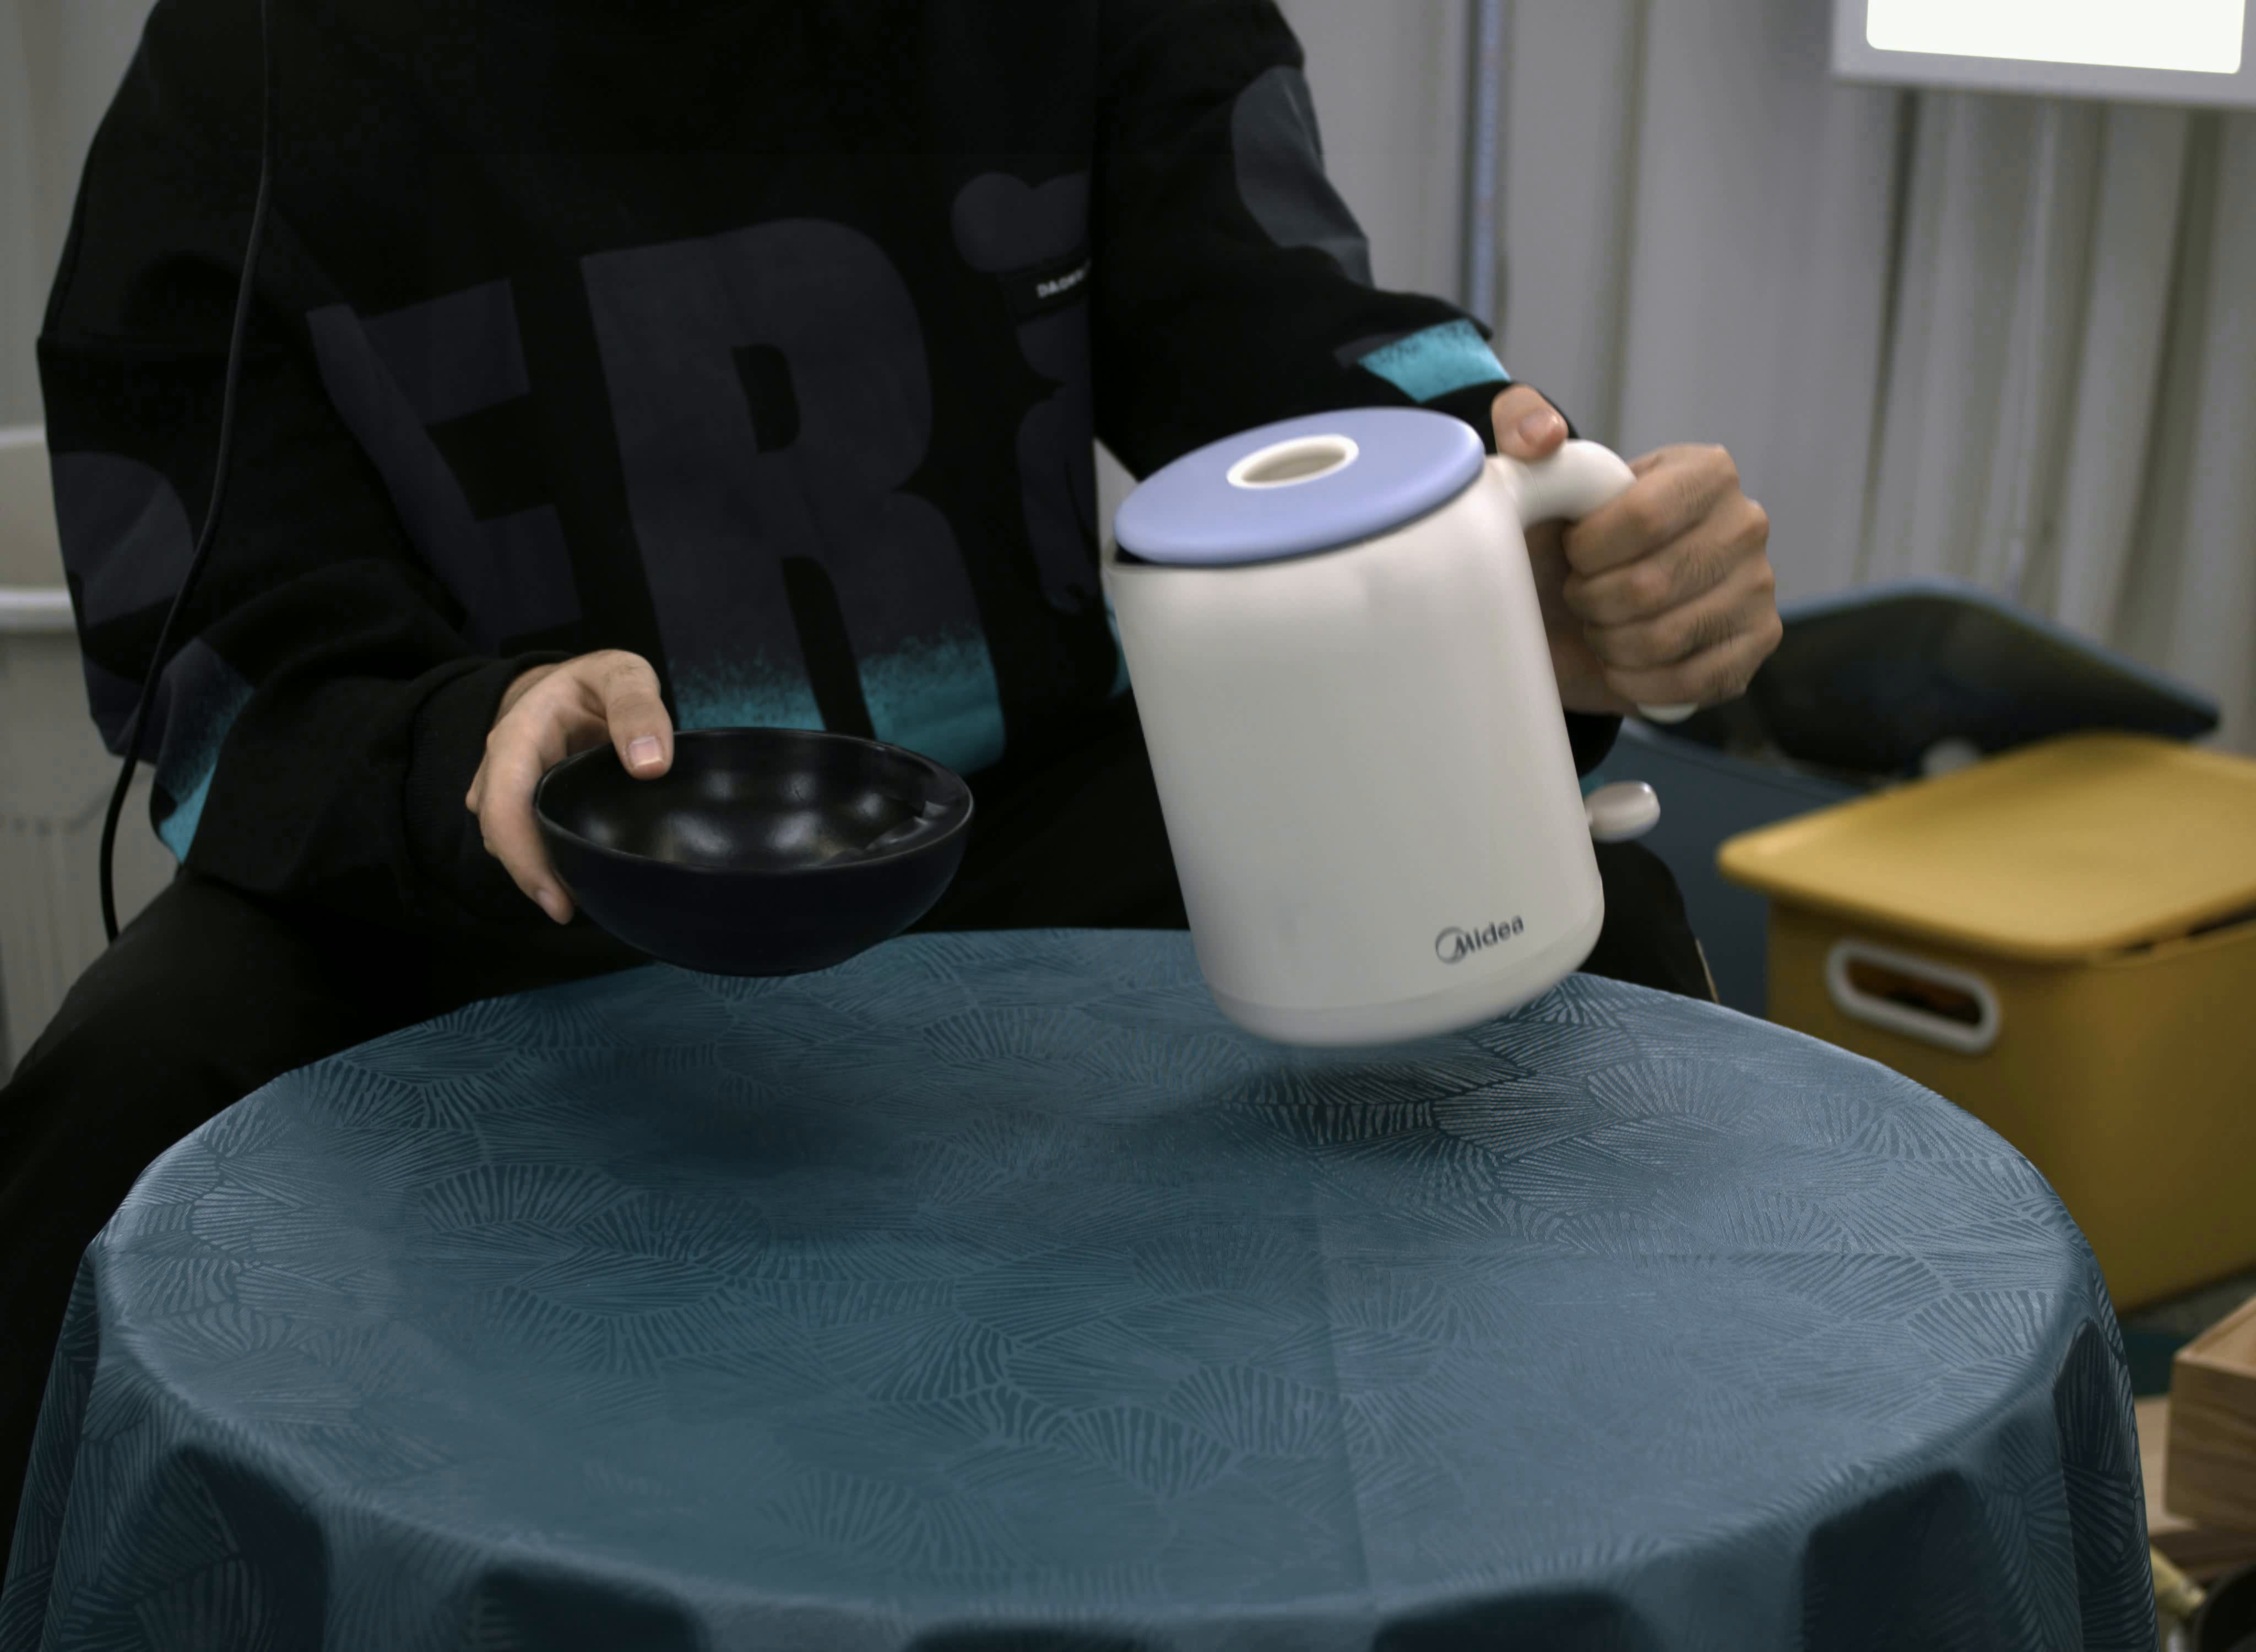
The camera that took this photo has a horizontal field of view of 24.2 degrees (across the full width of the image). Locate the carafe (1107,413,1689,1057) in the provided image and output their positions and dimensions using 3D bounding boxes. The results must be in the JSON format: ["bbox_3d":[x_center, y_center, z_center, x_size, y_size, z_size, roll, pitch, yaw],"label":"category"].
[{"bbox_3d":[0.093,-0.037,1.668,0.191,0.184,0.130,-19,23,-20],"label":"carafe"}]

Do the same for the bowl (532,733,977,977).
[{"bbox_3d":[-0.117,0.013,1.647,0.139,0.050,0.139,2,17,0],"label":"bowl"}]
